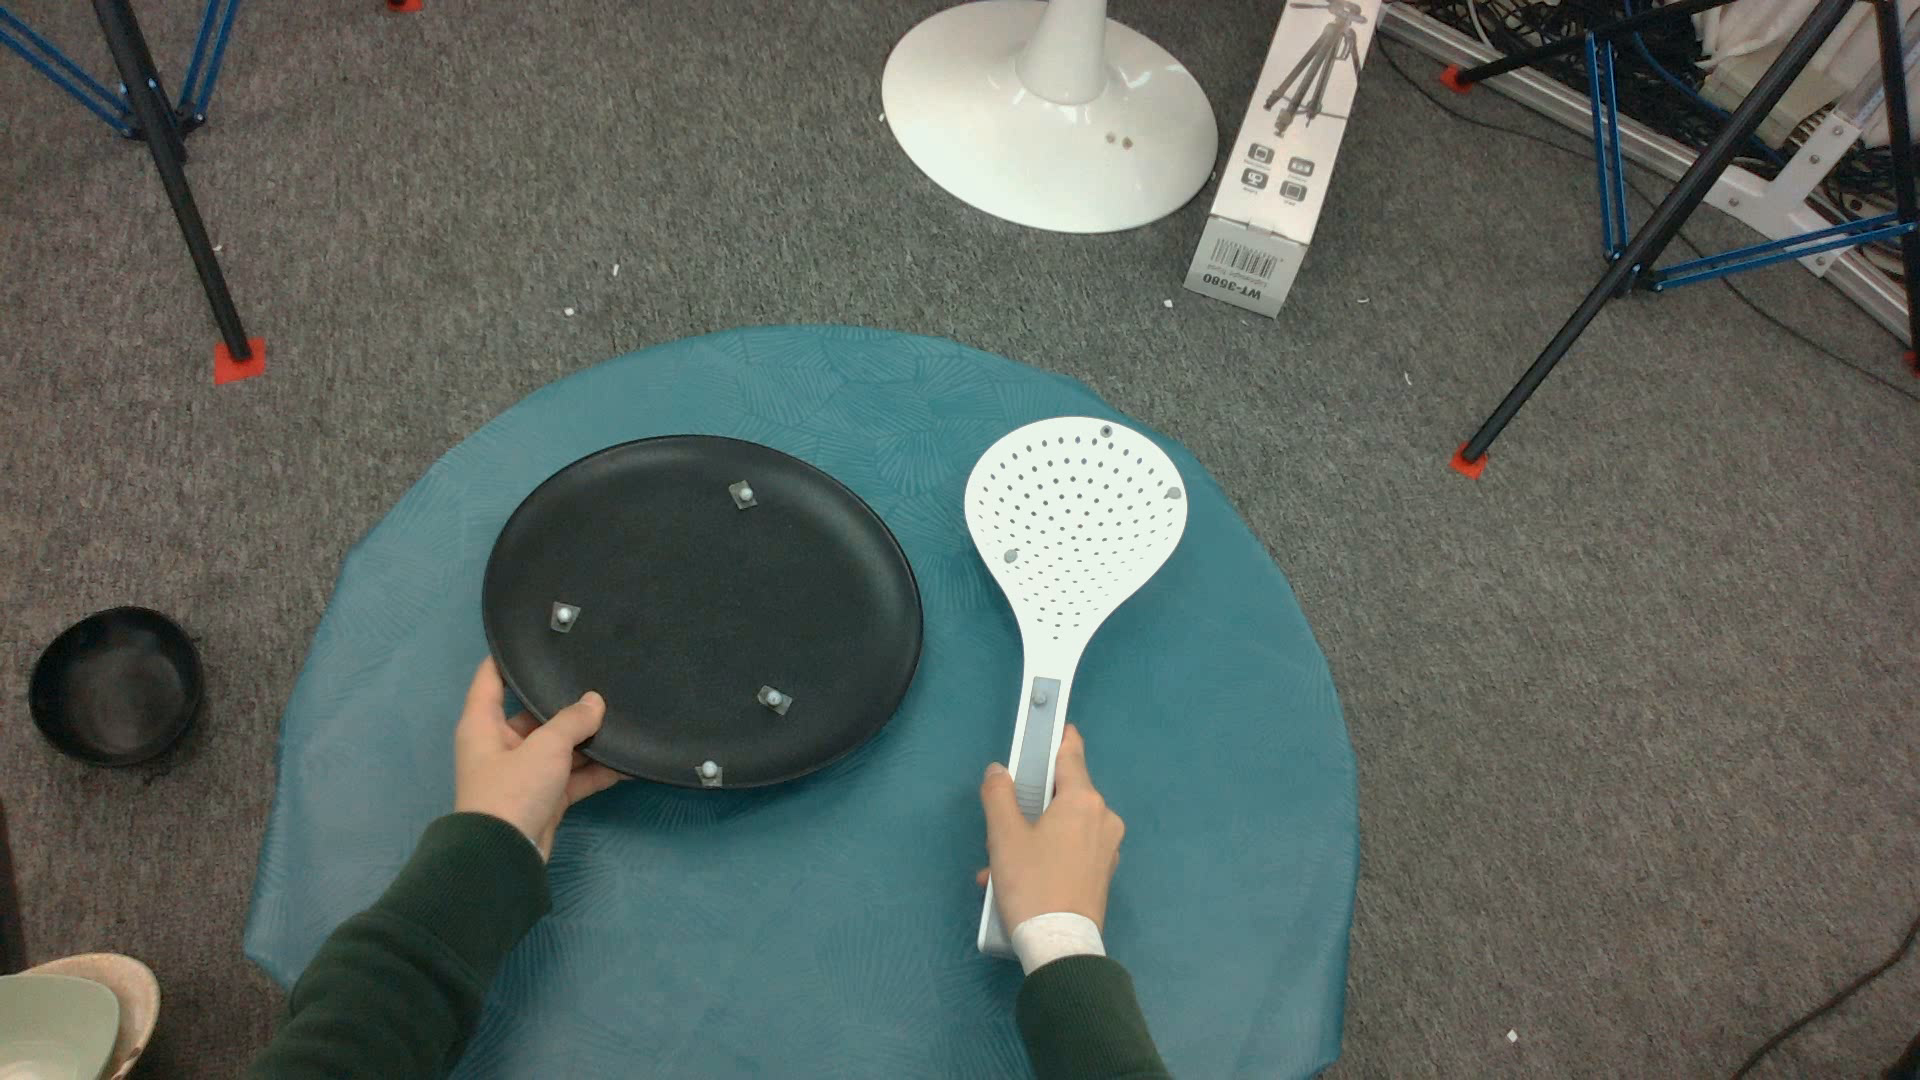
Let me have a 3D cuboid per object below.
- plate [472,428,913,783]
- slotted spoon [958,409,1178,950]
[{"bbox_3d":[-0.147,0.033,0.779,0.244,0.023,0.245,10,49,-12],"label":"plate"},{"bbox_3d":[0.047,0.063,0.788,0.136,0.045,0.351,7,50,8],"label":"slotted spoon"}]
